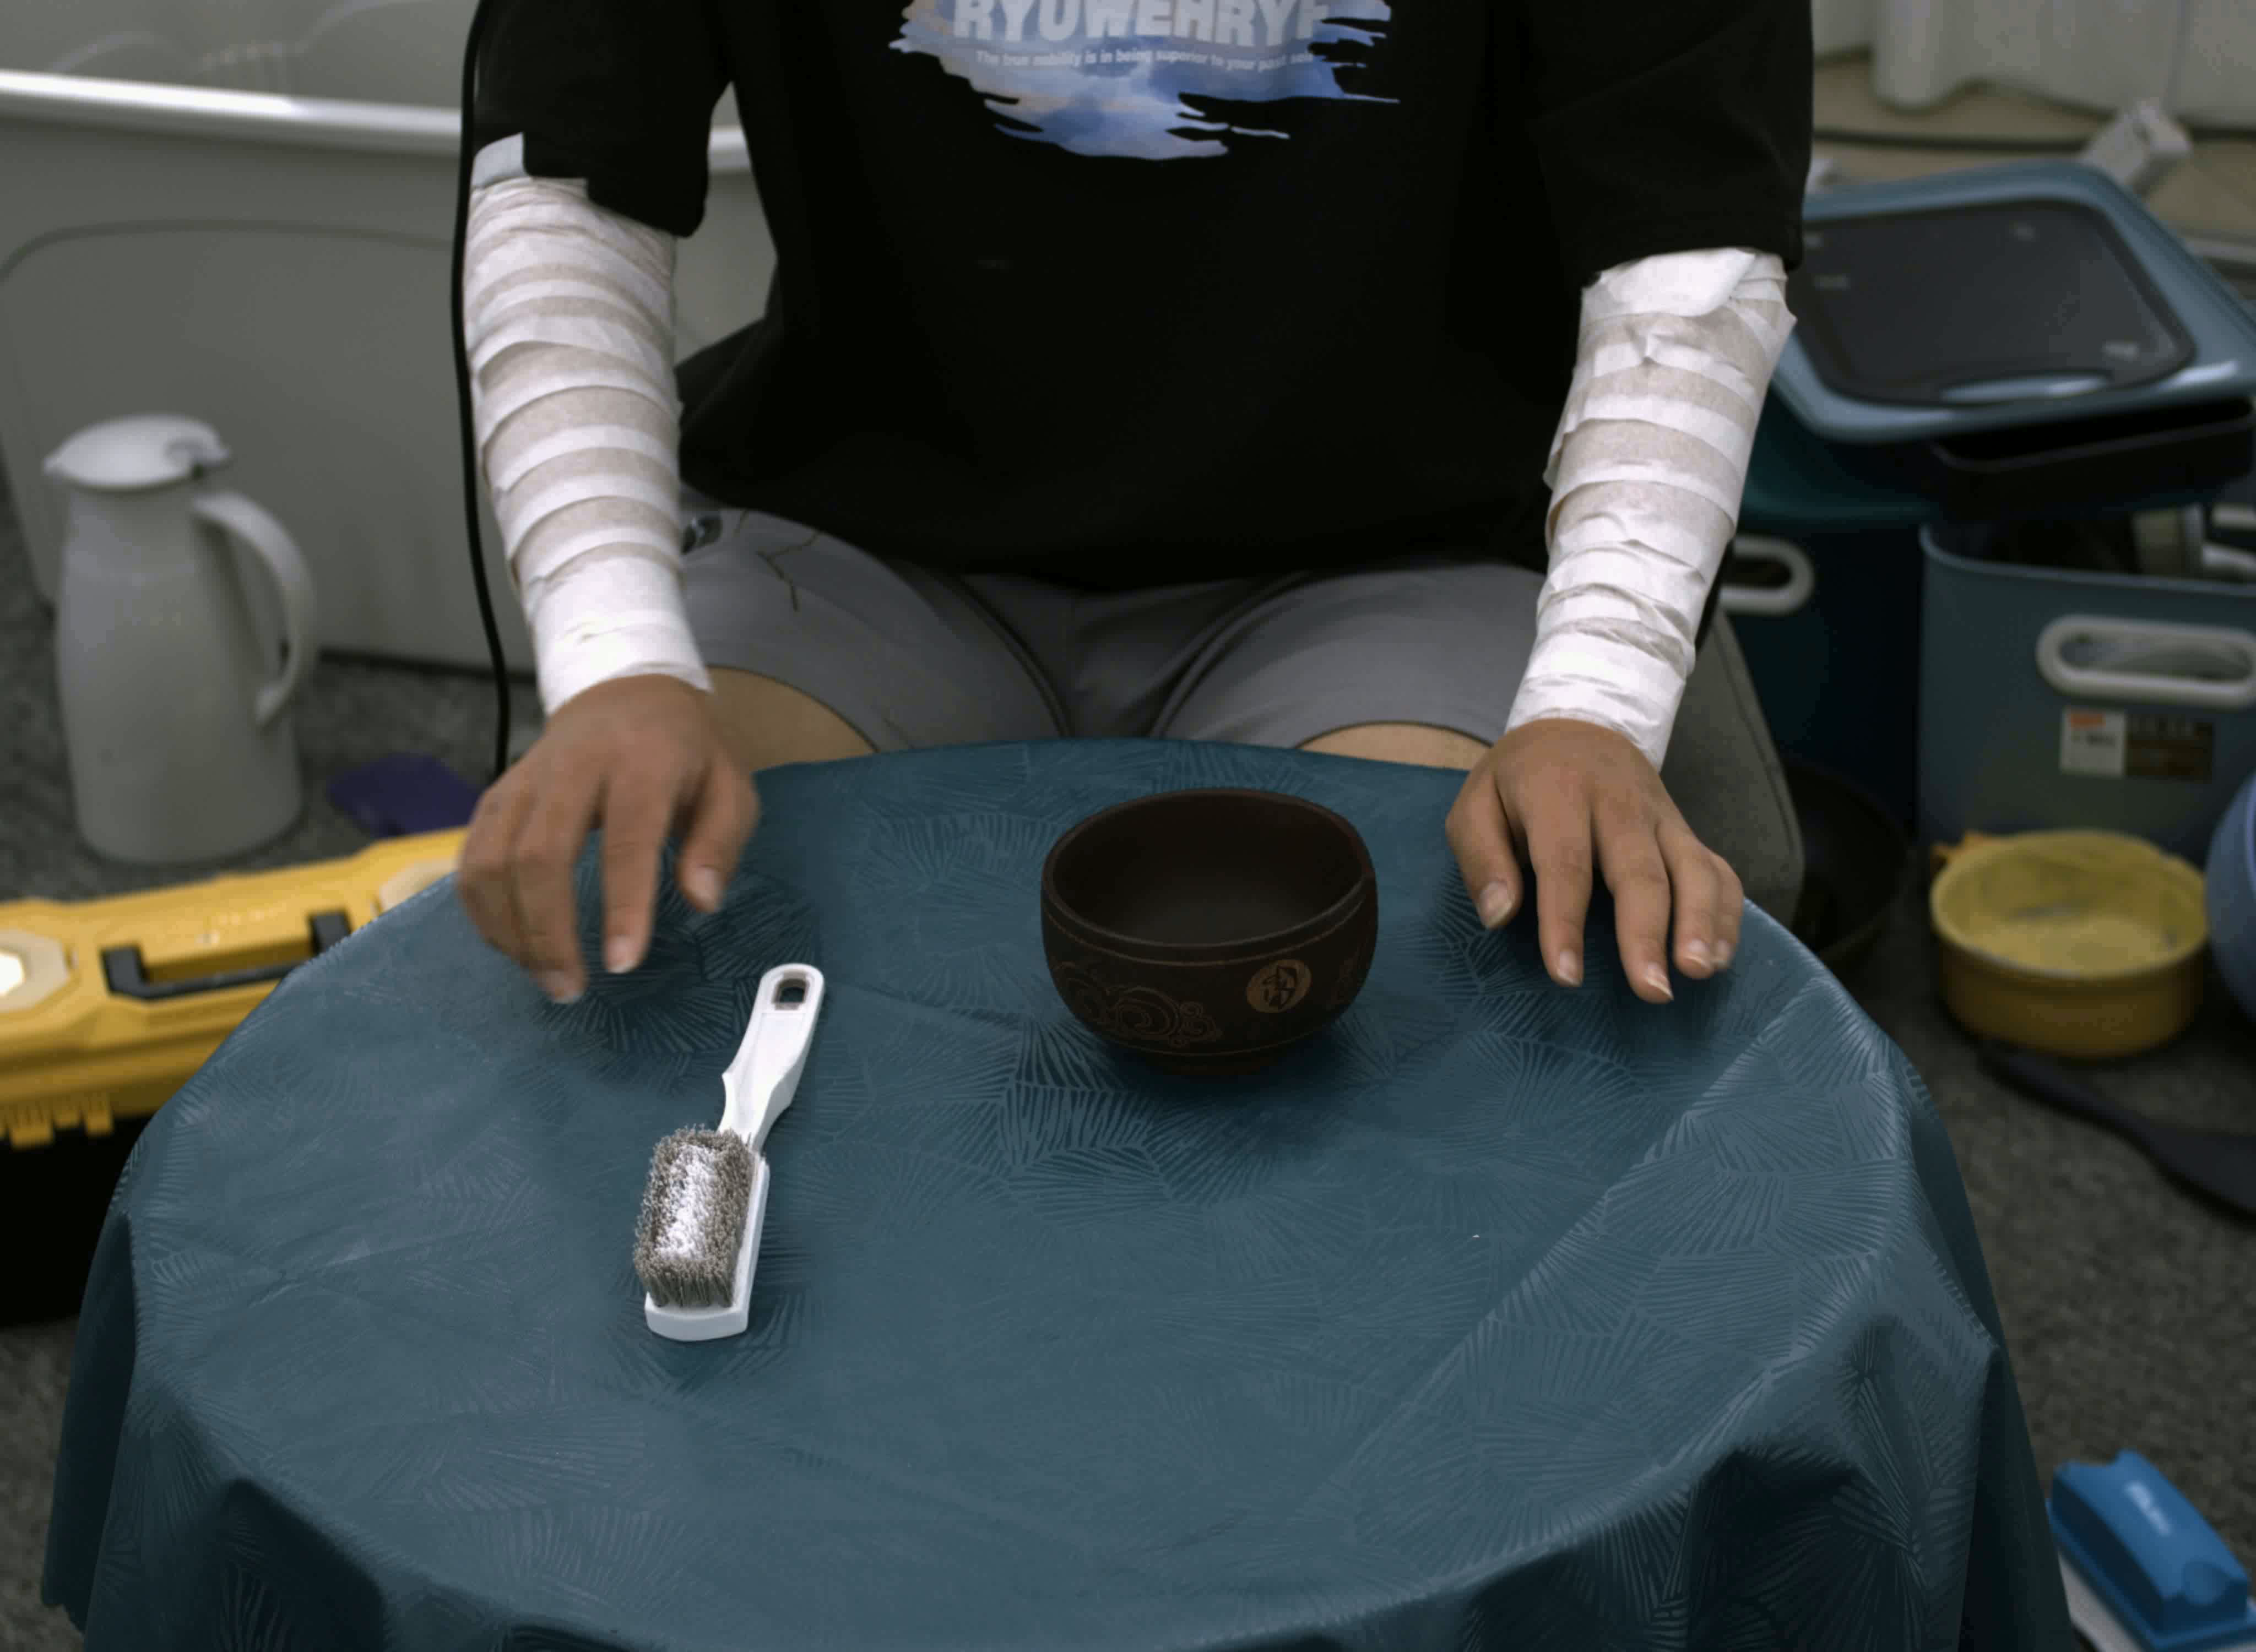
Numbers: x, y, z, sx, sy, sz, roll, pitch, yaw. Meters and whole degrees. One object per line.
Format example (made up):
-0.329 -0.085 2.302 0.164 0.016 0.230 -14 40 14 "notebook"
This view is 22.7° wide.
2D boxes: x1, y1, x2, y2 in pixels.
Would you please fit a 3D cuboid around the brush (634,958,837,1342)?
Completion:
-0.128 0.091 1.879 0.034 0.049 0.248 2 28 7 "brush"

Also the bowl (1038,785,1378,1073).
0.028 0.042 1.935 0.117 0.069 0.120 -3 25 2 "bowl"
